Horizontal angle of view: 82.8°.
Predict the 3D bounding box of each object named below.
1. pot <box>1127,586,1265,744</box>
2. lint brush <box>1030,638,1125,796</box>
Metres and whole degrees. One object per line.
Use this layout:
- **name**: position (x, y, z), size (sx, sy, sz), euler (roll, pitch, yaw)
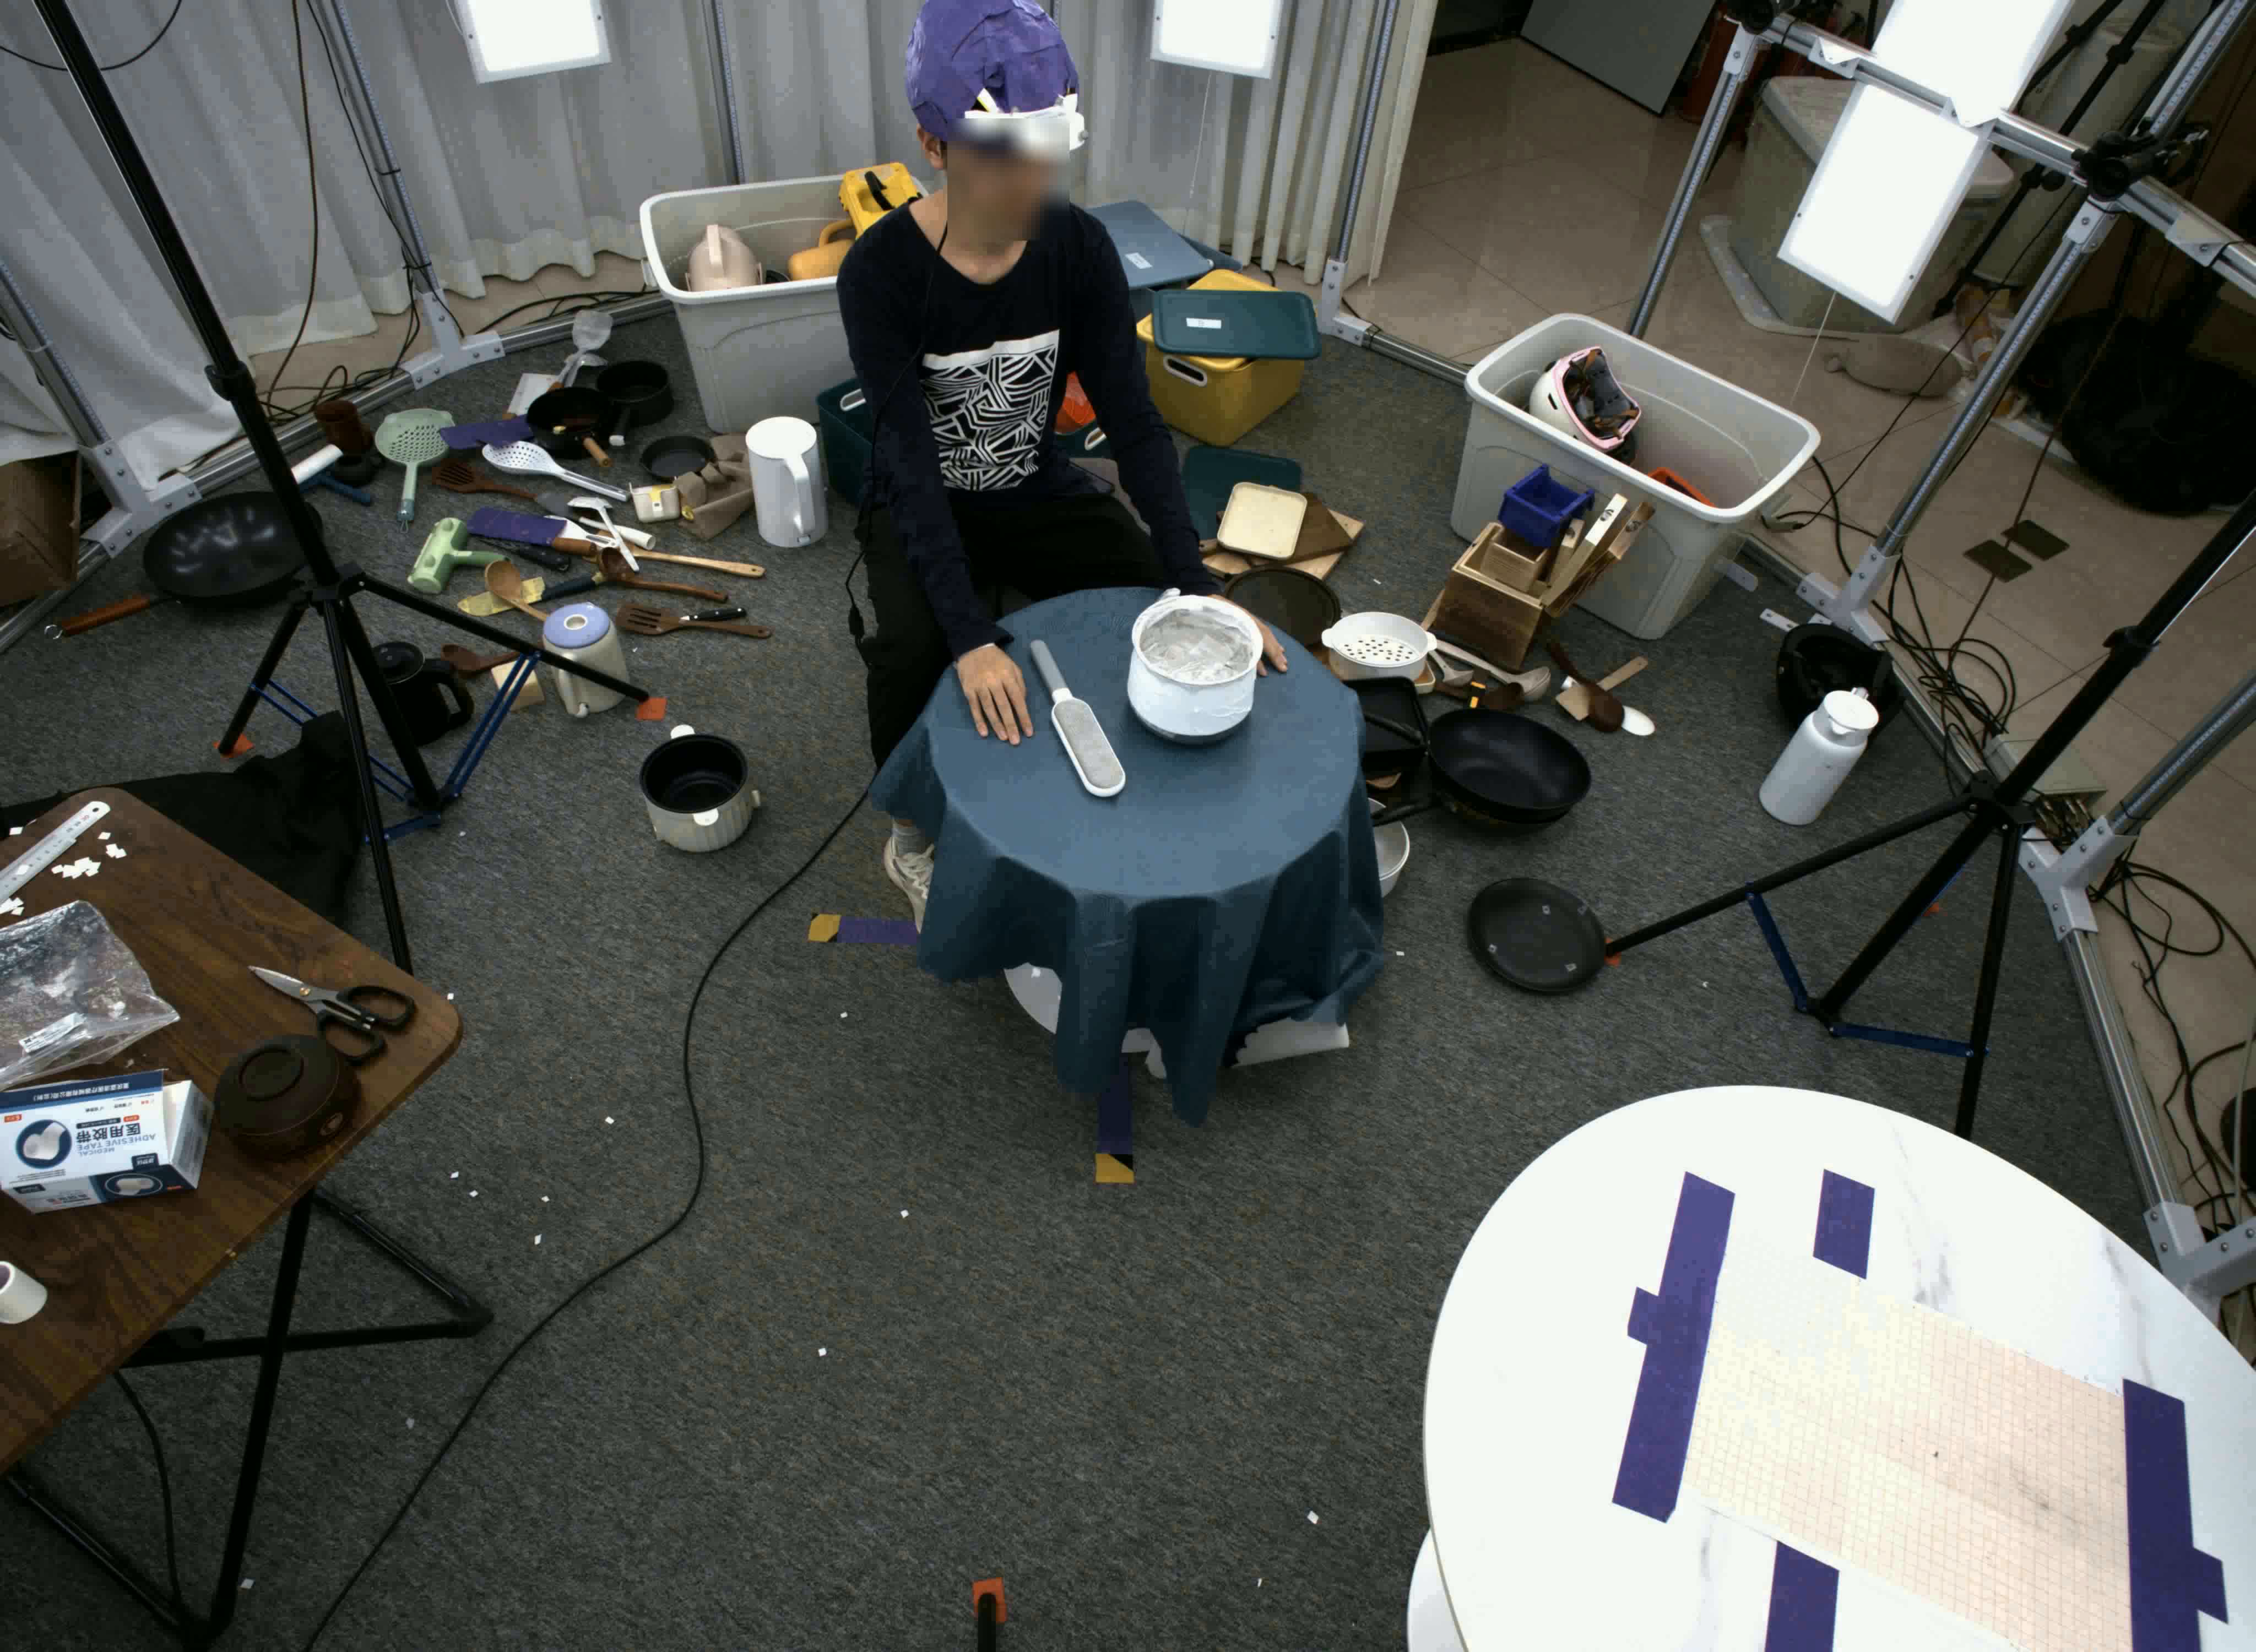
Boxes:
- **pot**: position (0.082, -0.233, 1.785), size (0.178, 0.133, 0.239), euler (-10, 51, -15)
- **lint brush**: position (-0.077, -0.157, 1.781), size (0.060, 0.020, 0.316), euler (-18, 52, -11)
